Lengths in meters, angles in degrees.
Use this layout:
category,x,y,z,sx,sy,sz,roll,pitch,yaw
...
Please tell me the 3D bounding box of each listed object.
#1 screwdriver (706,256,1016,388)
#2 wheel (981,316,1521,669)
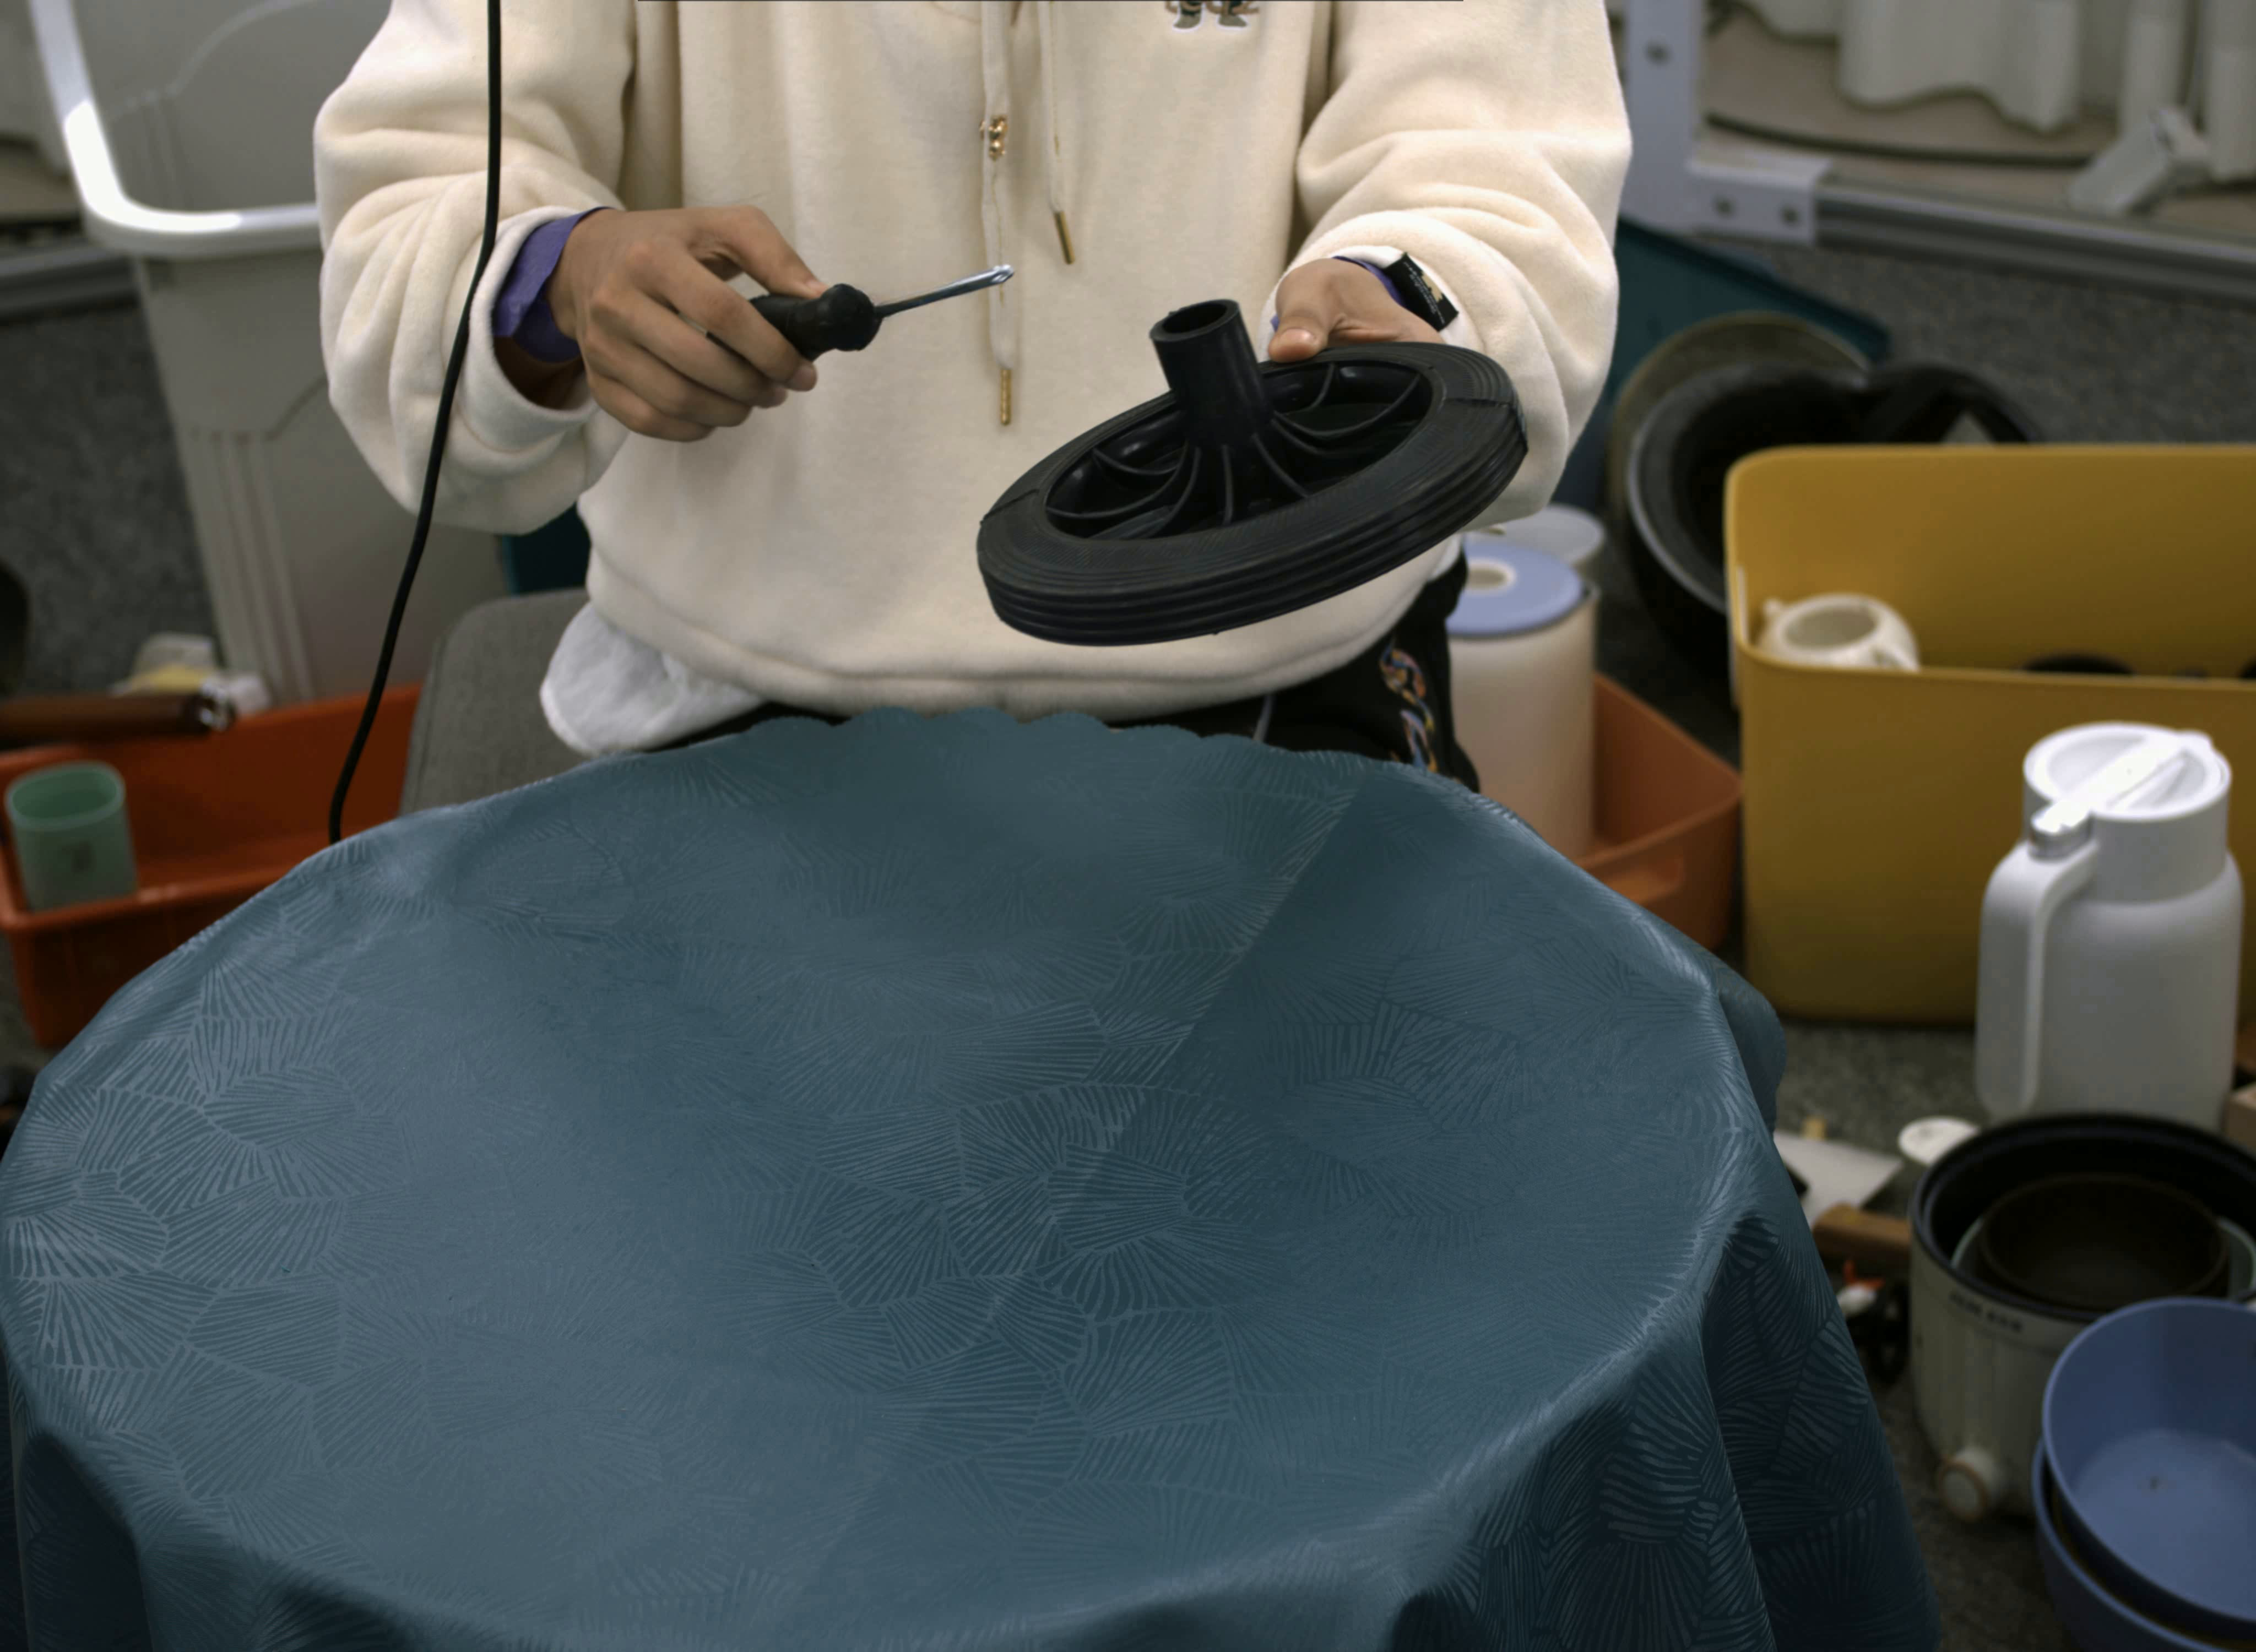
category,x,y,z,sx,sy,sz,roll,pitch,yaw
screwdriver,-0.092,-0.183,1.971,0.032,0.031,0.194,-24,6,-36
wheel,0.032,-0.126,1.862,0.192,0.078,0.186,-37,28,-31
